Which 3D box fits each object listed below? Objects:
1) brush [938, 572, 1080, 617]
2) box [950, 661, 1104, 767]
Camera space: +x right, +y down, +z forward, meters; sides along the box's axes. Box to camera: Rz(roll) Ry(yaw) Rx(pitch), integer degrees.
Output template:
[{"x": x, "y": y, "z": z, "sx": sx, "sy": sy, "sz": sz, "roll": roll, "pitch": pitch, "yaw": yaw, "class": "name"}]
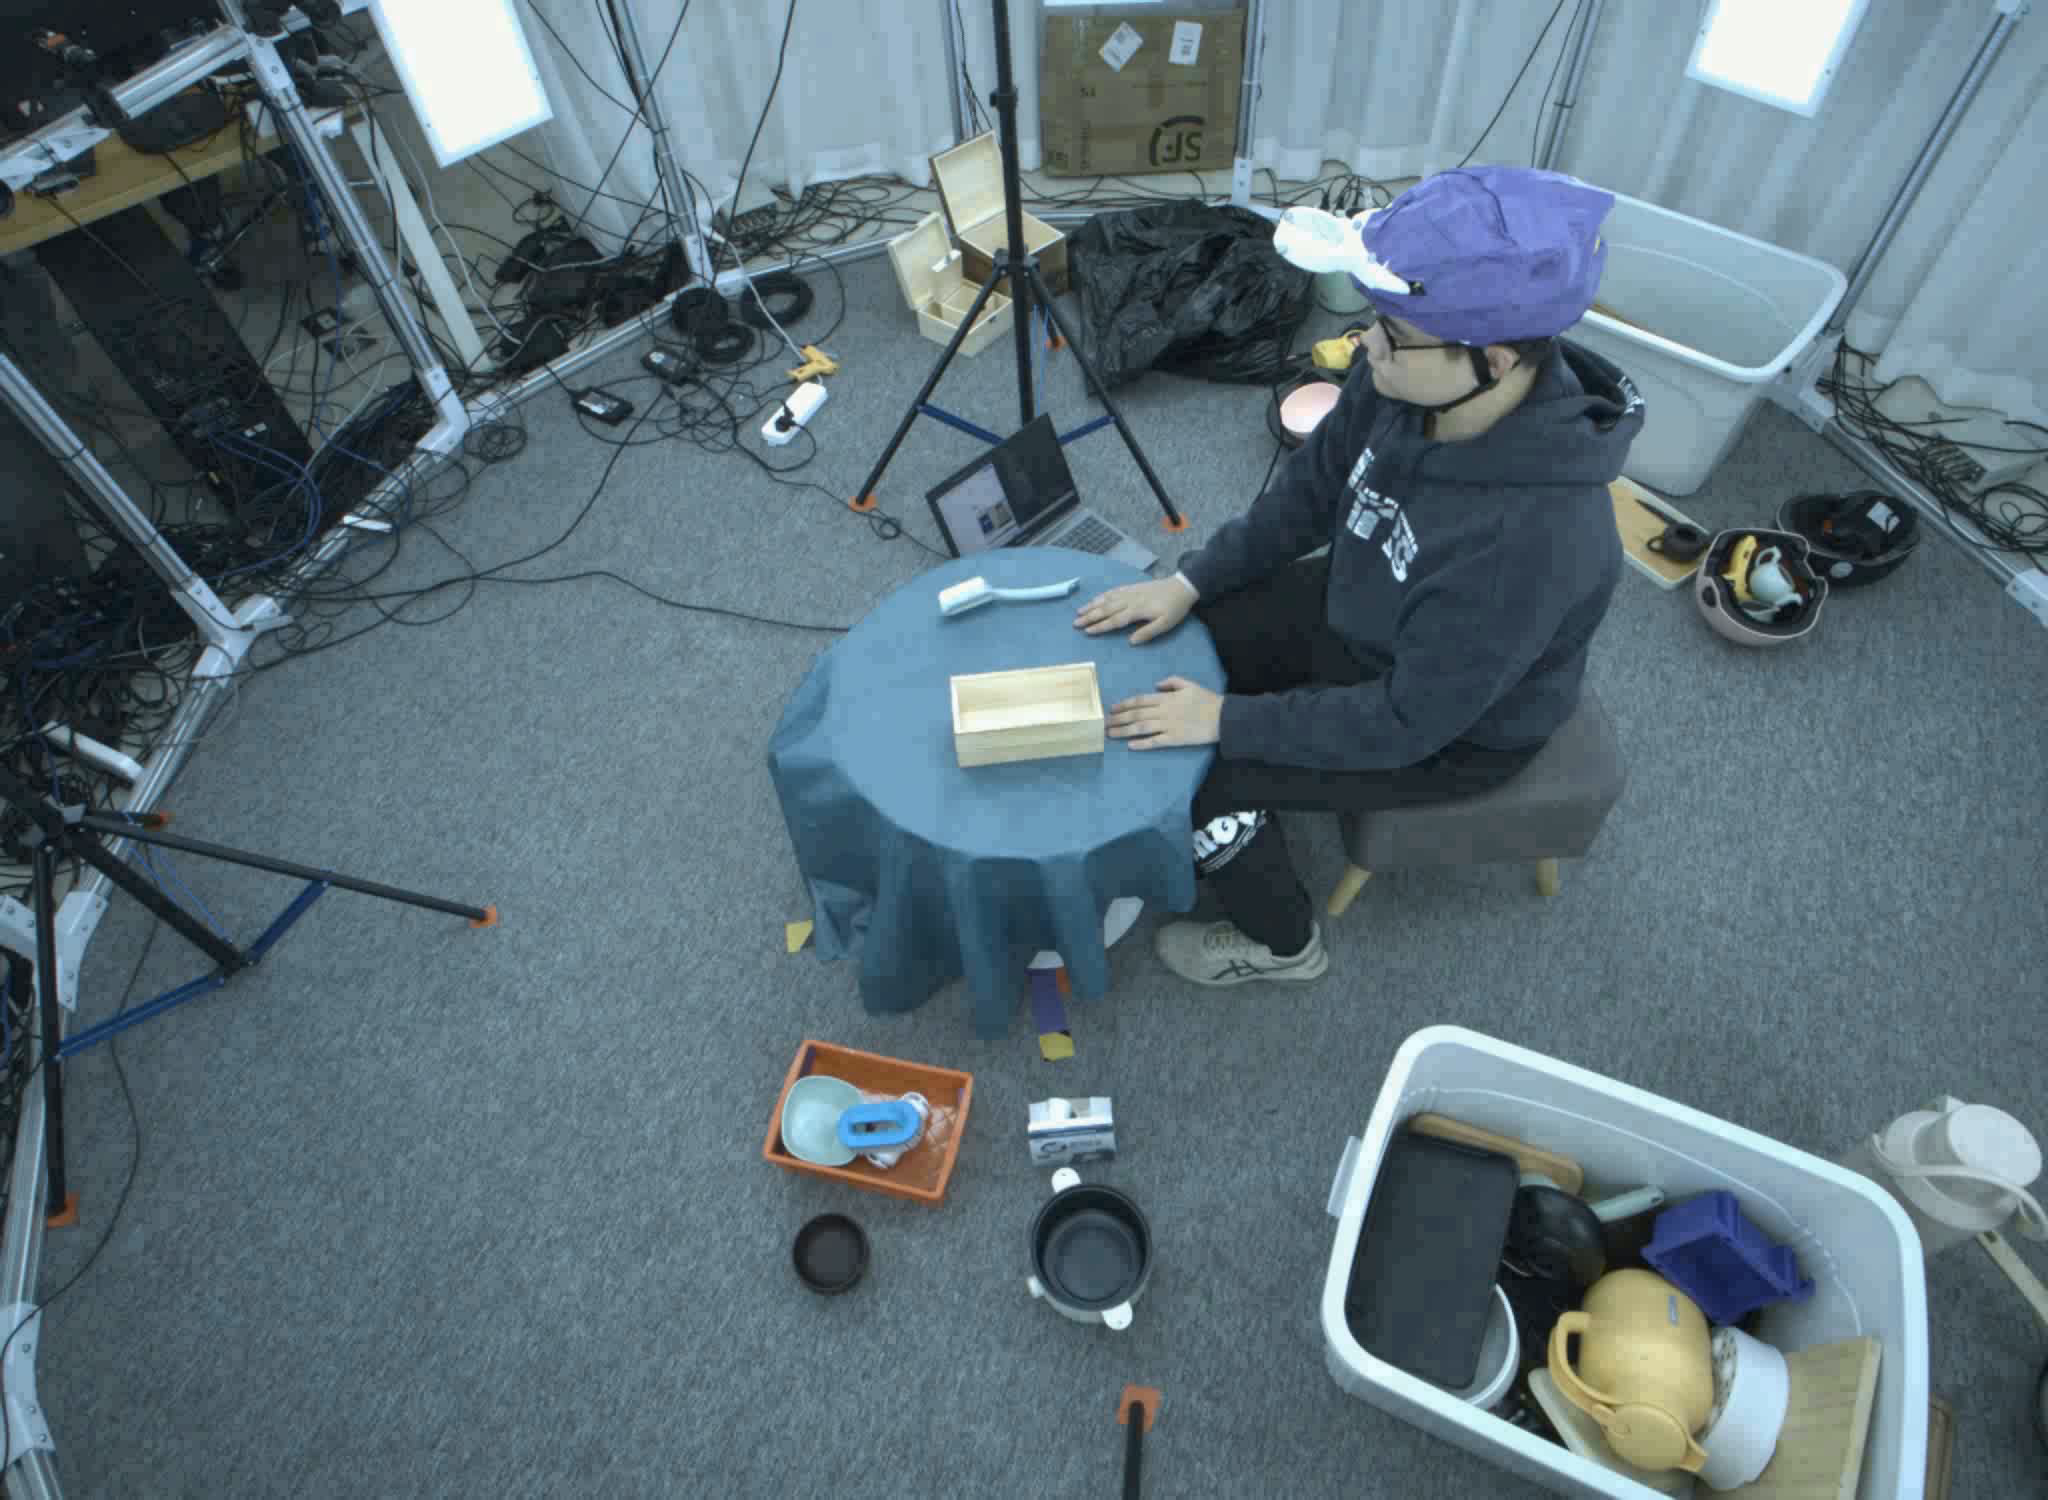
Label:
[{"x": -0.023, "y": -0.257, "z": 1.946, "sx": 0.230, "sy": 0.038, "sz": 0.049, "roll": -12, "pitch": 62, "yaw": -7, "class": "brush"}, {"x": 0.004, "y": -0.052, "z": 1.775, "sx": 0.212, "sy": 0.081, "sz": 0.106, "roll": -7, "pitch": 55, "yaw": -3, "class": "box"}]
